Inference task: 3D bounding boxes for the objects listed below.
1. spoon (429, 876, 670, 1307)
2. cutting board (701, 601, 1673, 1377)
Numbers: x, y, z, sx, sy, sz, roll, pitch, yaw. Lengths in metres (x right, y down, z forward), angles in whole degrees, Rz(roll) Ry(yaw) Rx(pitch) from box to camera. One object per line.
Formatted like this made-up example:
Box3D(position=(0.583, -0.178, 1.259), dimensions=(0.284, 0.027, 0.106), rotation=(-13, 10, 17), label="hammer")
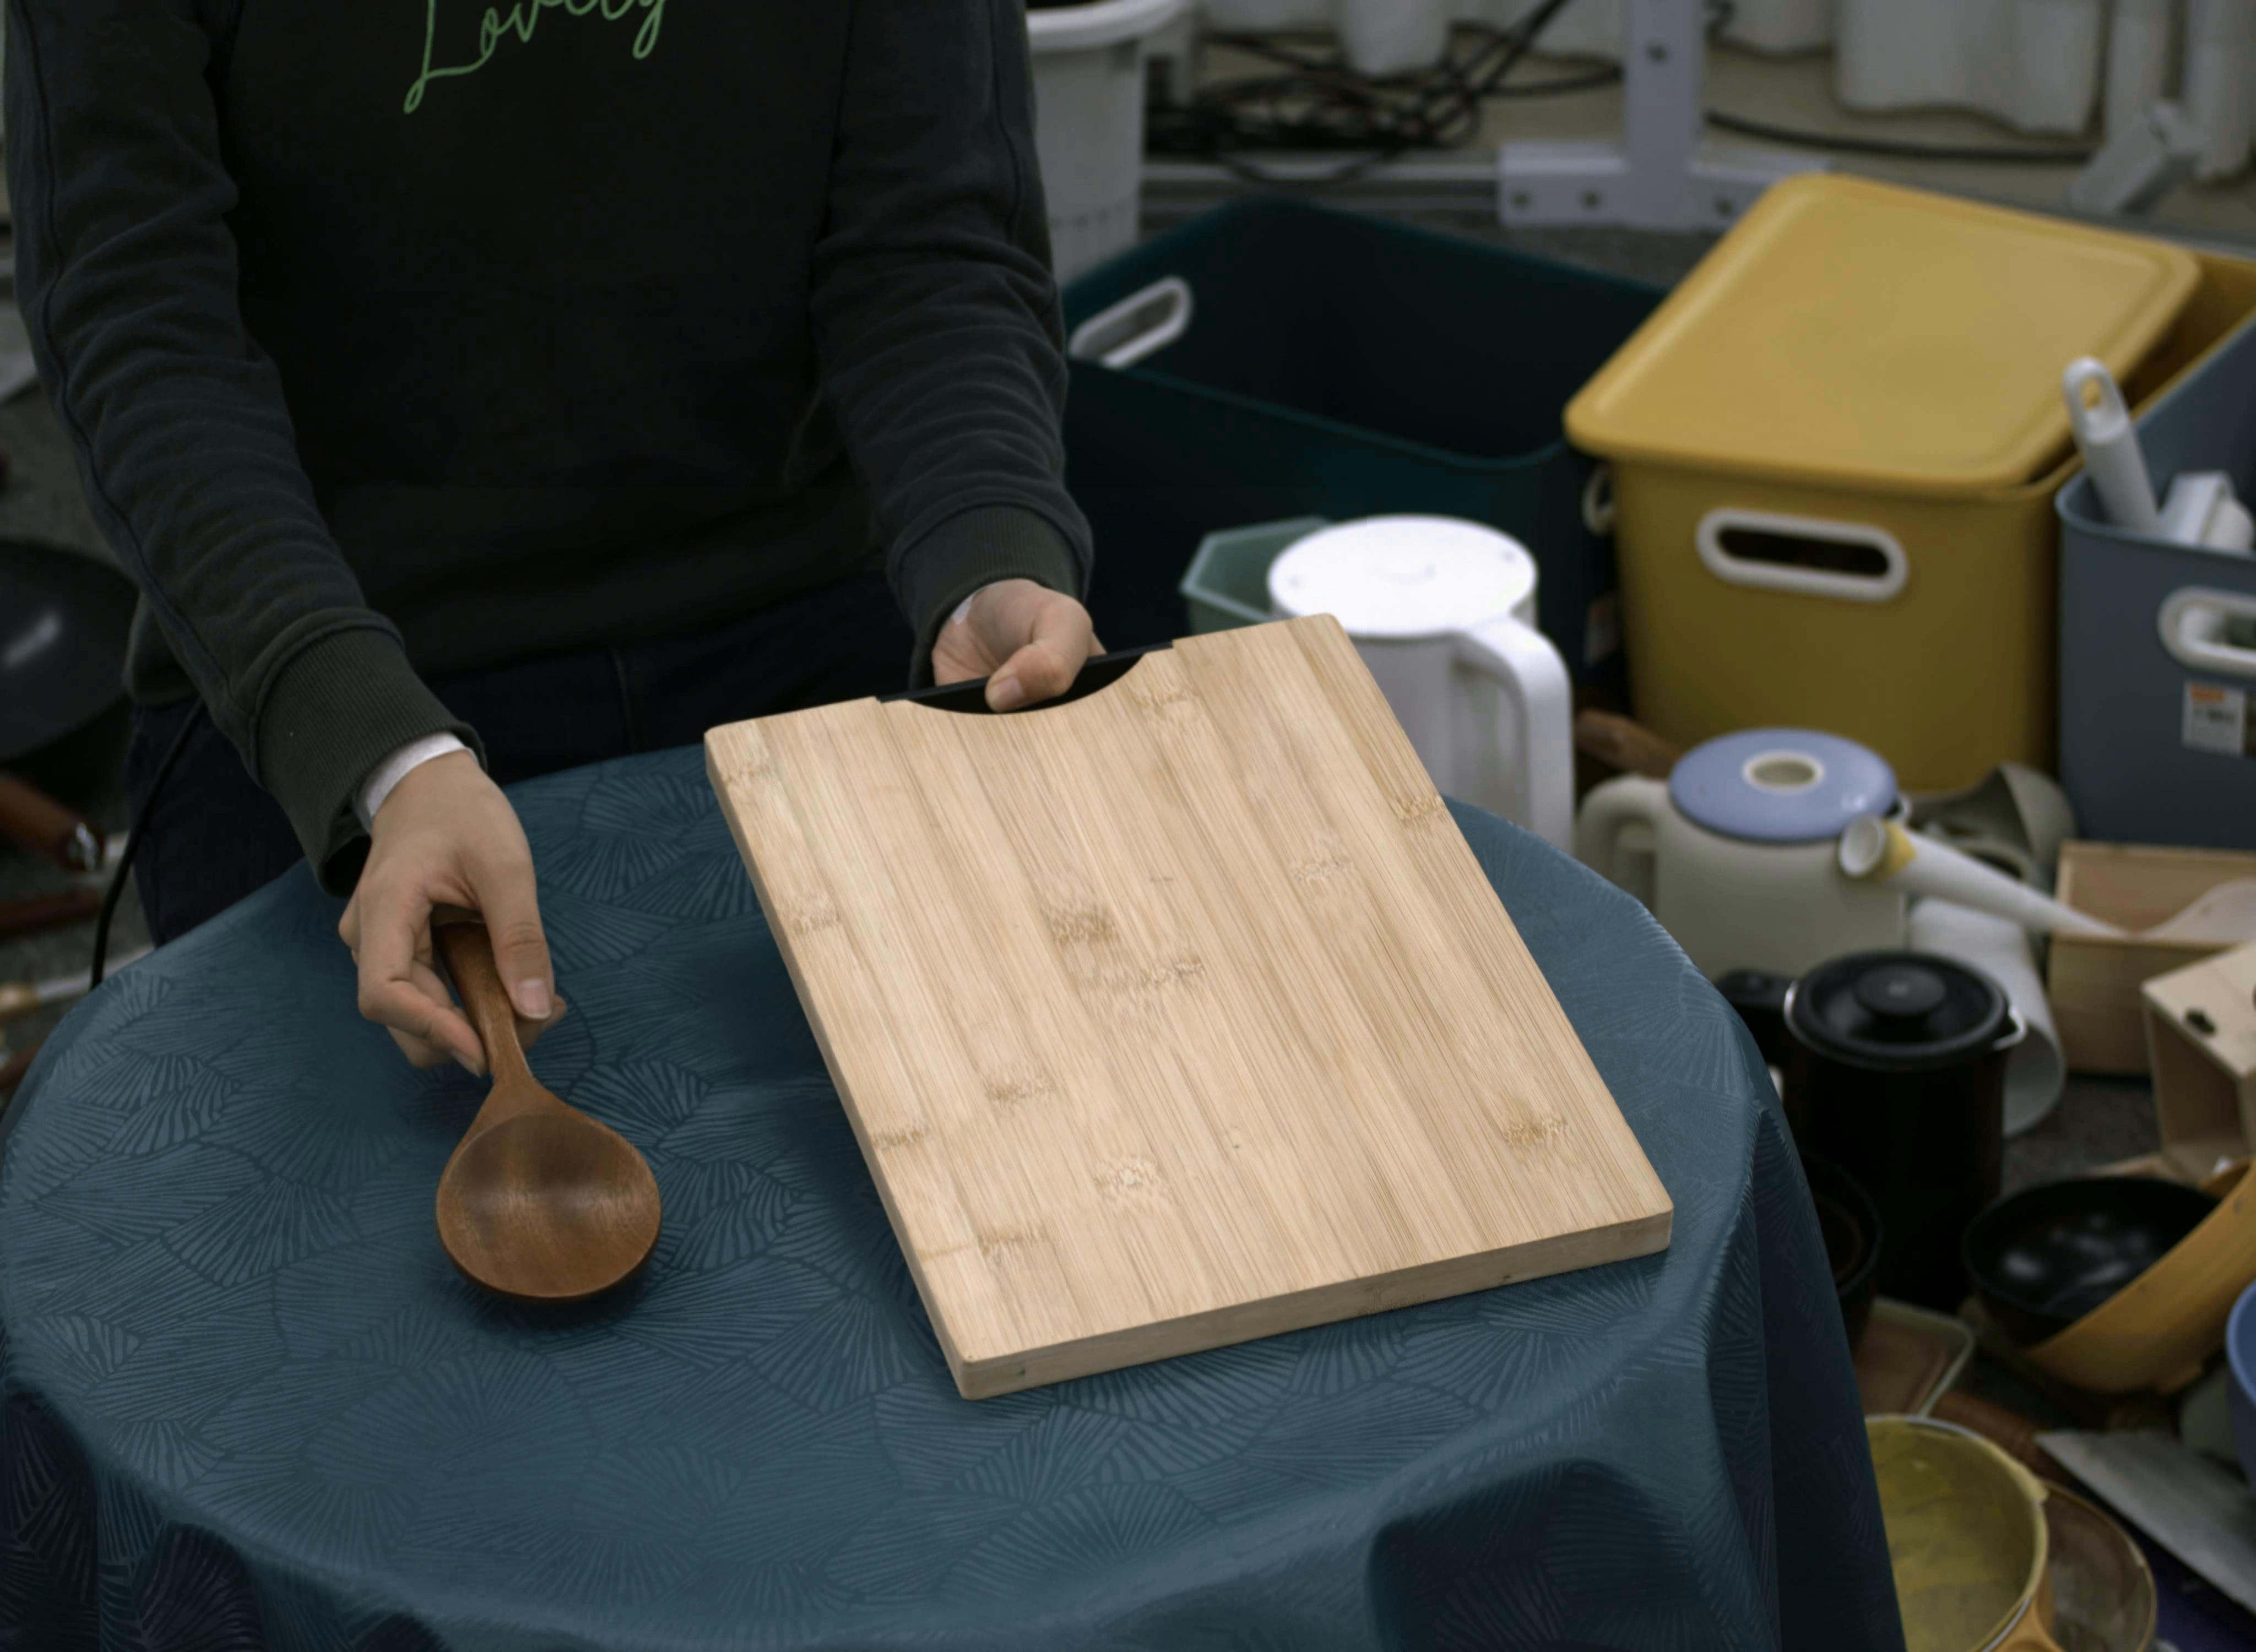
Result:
Box3D(position=(-0.204, 0.089, 1.877), dimensions=(0.075, 0.017, 0.219), rotation=(-11, 41, -11), label="spoon")
Box3D(position=(0.011, 0.048, 1.912), dimensions=(0.251, 0.023, 0.353), rotation=(-11, 39, -15), label="cutting board")
